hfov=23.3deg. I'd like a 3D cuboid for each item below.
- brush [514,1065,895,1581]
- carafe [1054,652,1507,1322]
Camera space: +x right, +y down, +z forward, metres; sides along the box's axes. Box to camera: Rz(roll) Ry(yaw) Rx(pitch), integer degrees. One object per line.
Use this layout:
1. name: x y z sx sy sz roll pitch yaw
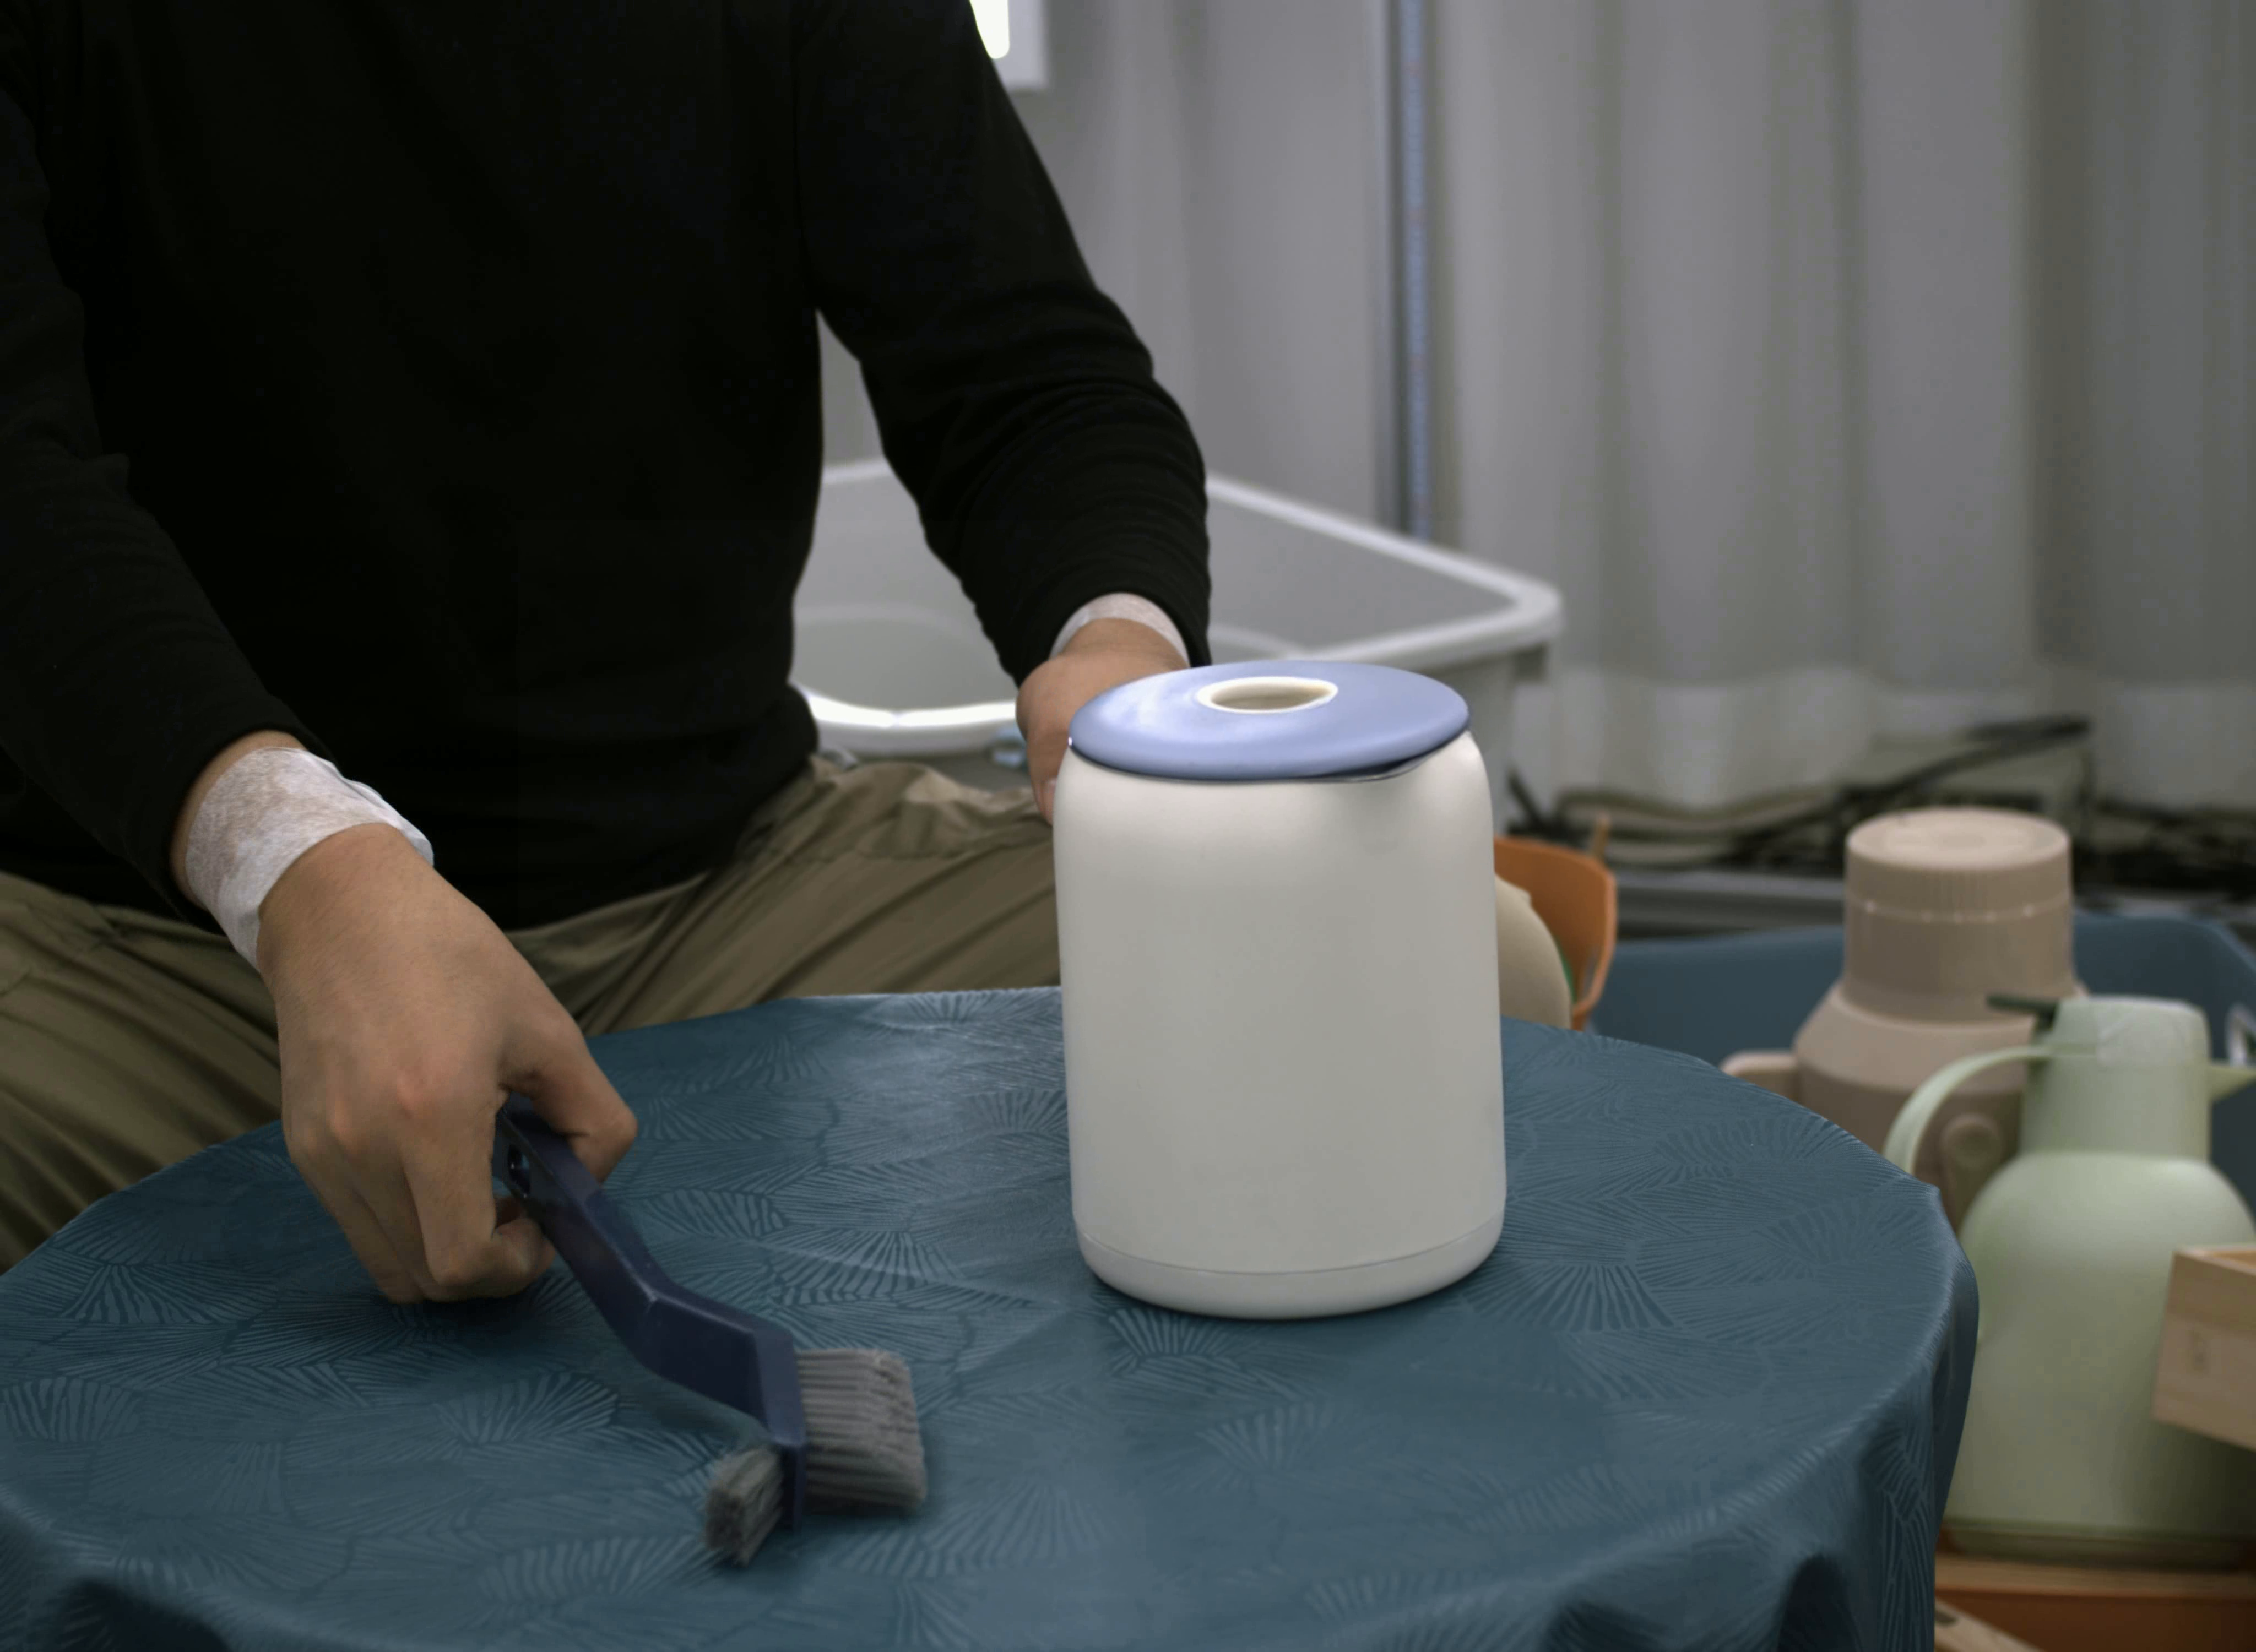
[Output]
1. brush: -0.143 0.136 1.557 0.095 0.033 0.276 -11 24 -28
2. carafe: 0.033 0.042 1.650 0.131 0.182 0.192 -10 15 -28
